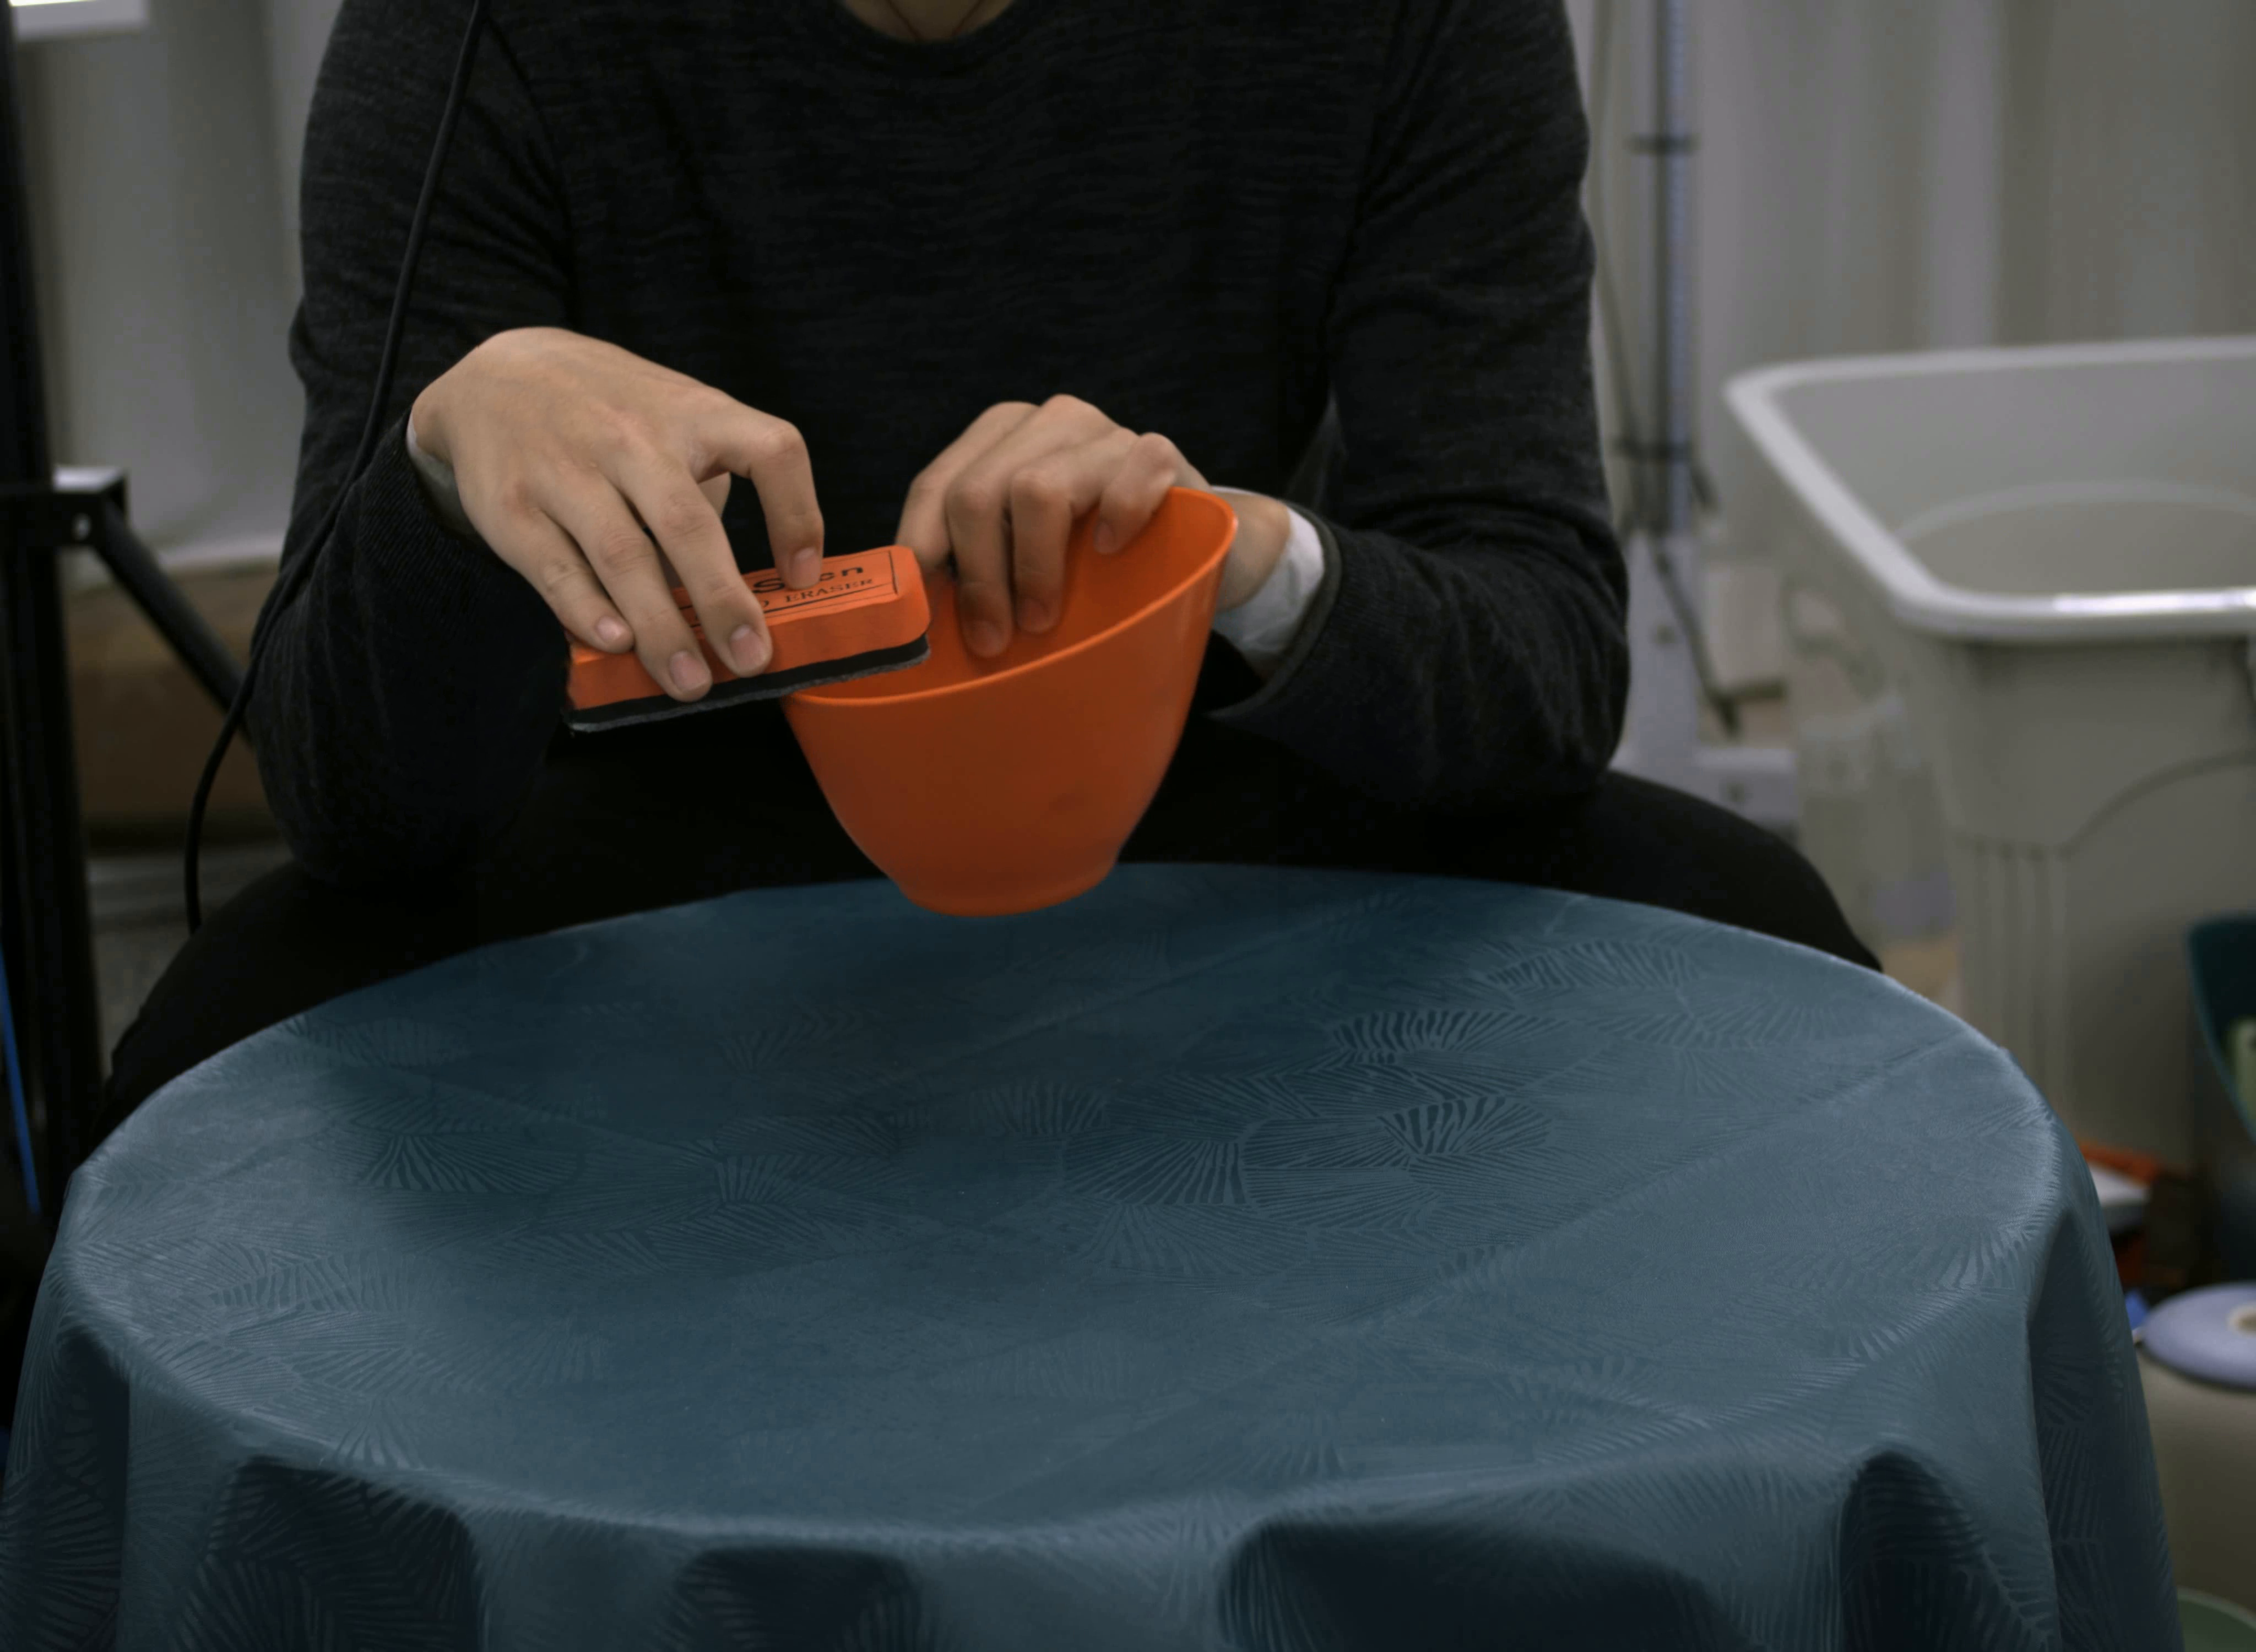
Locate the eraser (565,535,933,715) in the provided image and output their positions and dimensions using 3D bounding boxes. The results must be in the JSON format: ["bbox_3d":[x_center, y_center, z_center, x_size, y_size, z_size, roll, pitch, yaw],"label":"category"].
[{"bbox_3d":[-0.113,-0.060,1.591,0.107,0.023,0.059,-11,21,0],"label":"eraser"}]

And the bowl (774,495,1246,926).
[{"bbox_3d":[-0.032,-0.031,1.604,0.147,0.104,0.149,-7,23,2],"label":"bowl"}]
